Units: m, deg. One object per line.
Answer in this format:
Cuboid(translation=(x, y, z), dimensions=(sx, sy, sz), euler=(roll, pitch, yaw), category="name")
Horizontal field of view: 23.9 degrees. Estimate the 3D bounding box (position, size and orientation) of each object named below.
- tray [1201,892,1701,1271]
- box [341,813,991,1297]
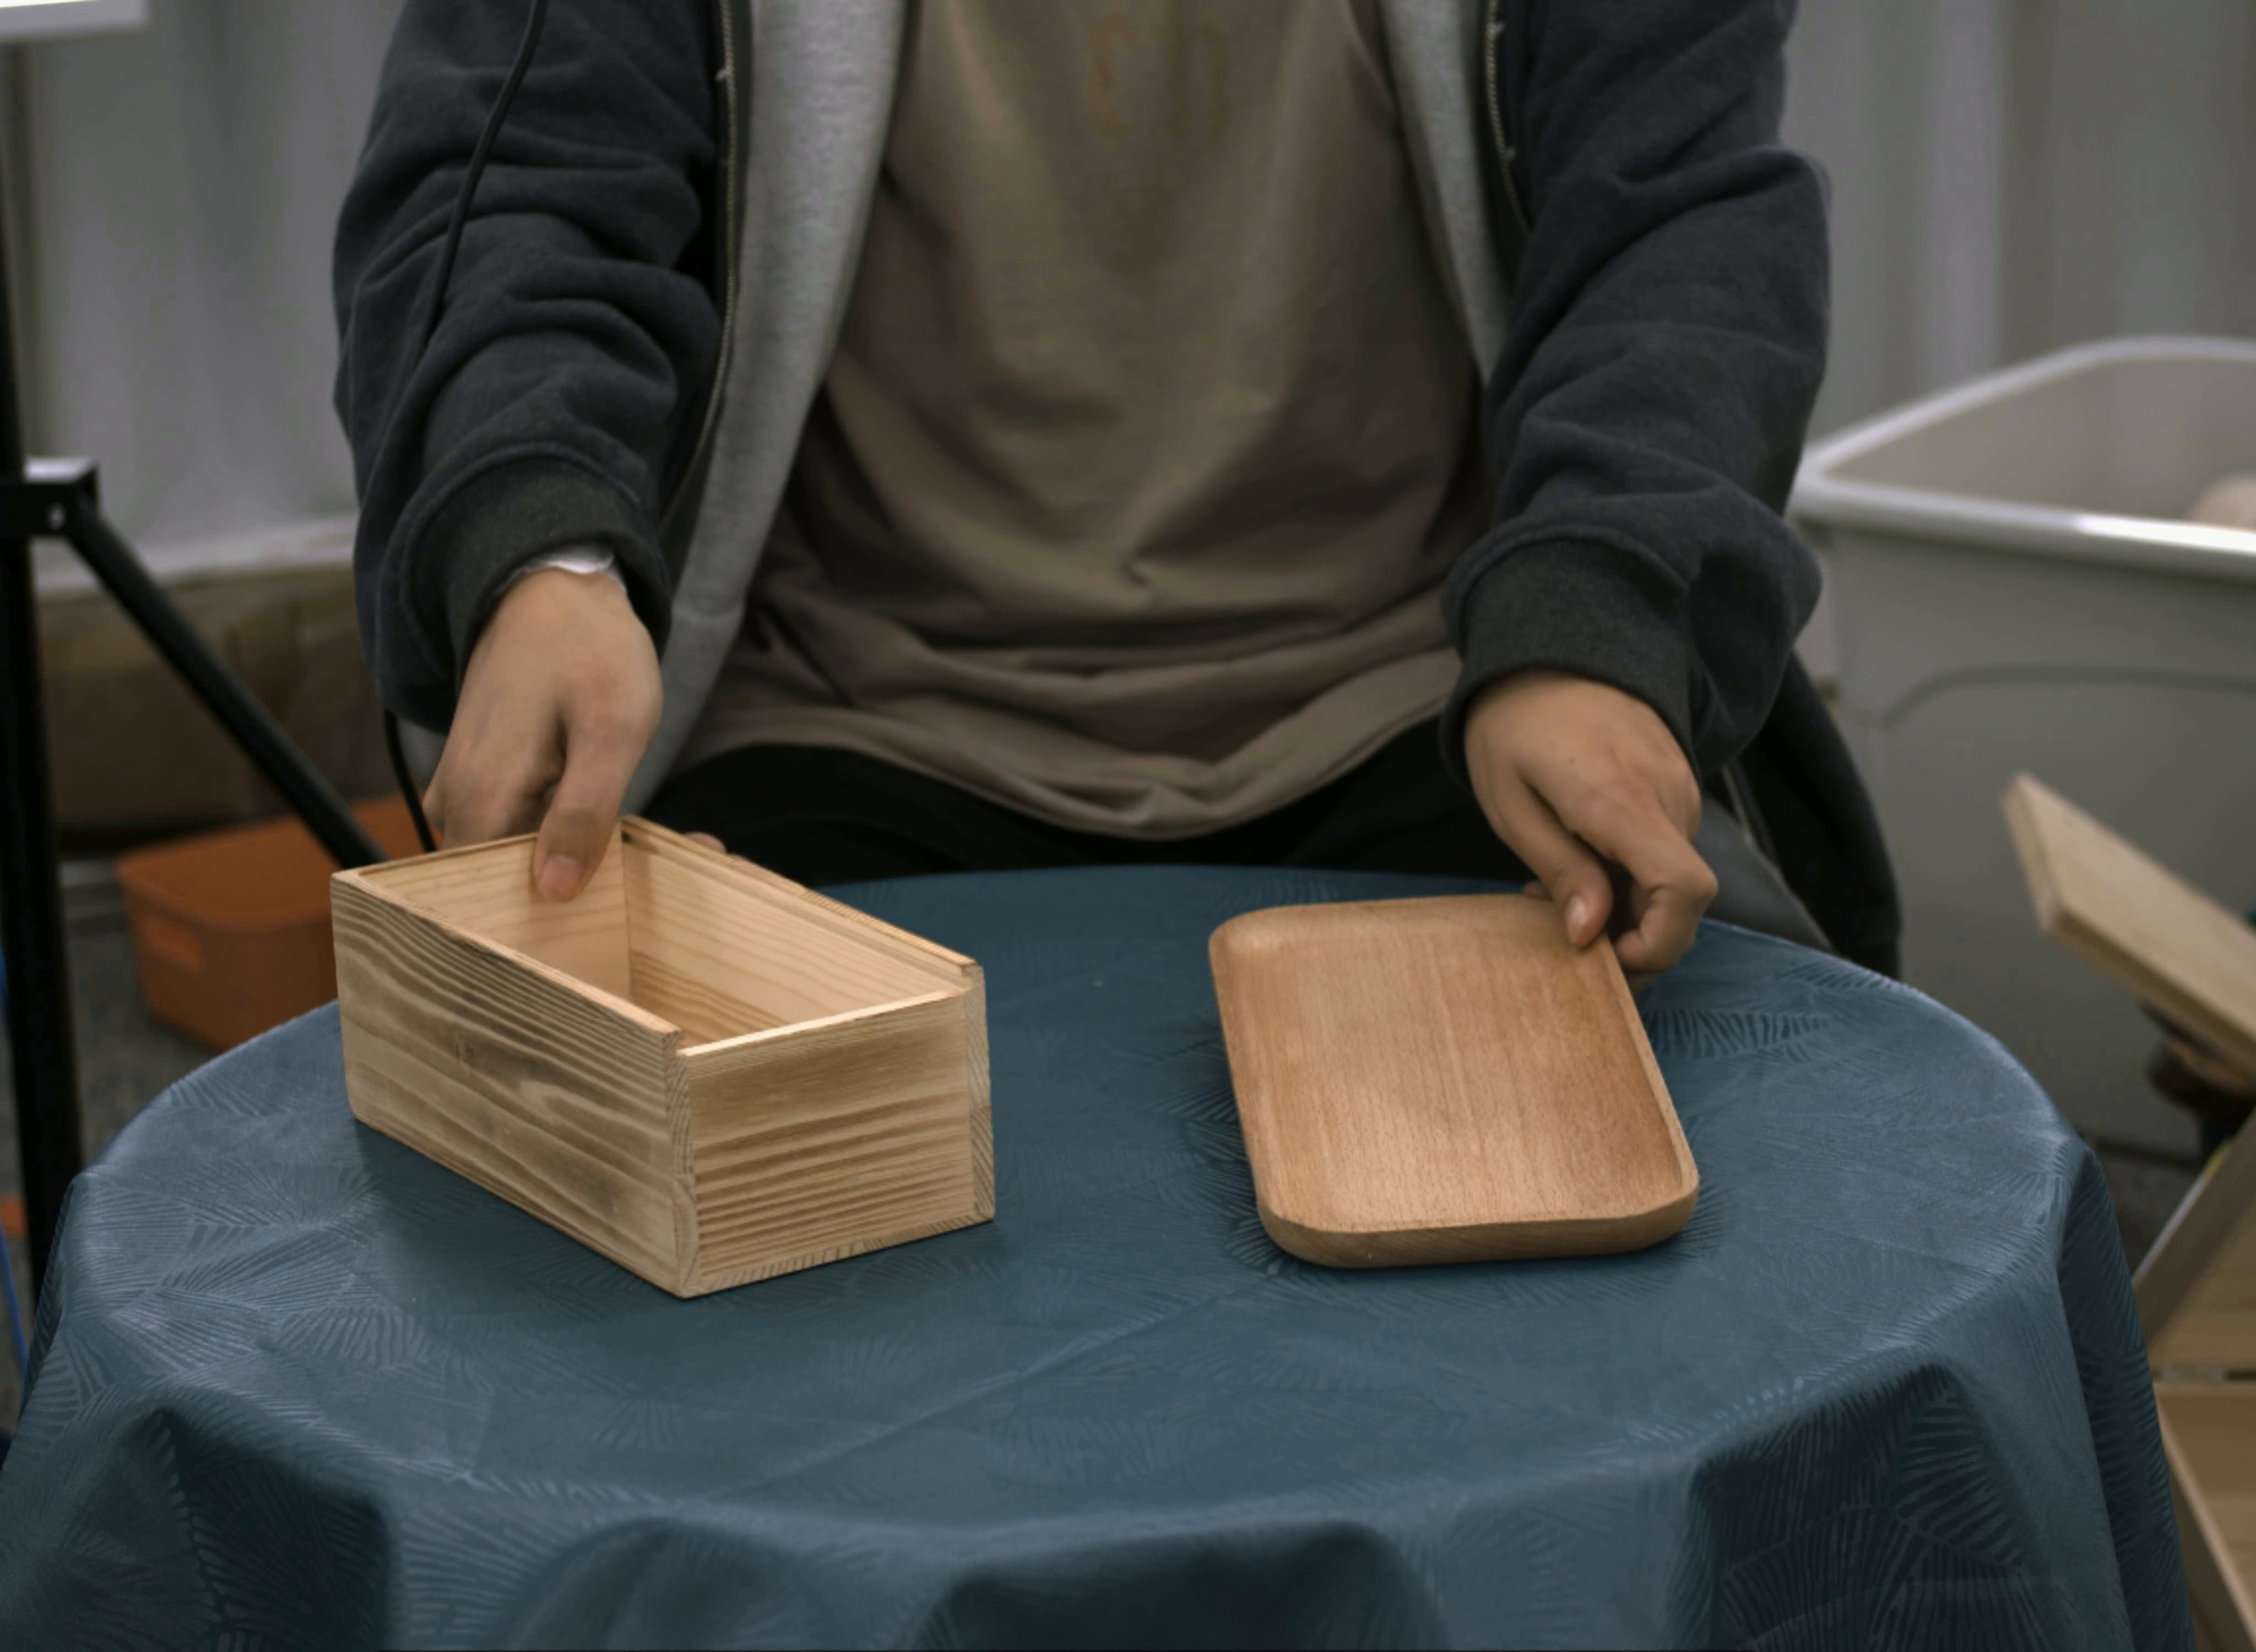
Cuboid(translation=(0.093, 0.074, 1.597), dimensions=(0.130, 0.023, 0.252), euler=(-1, 20, -2), category="tray")
Cuboid(translation=(-0.141, 0.064, 1.593), dimensions=(0.105, 0.080, 0.216), euler=(-12, 18, -31), category="box")
